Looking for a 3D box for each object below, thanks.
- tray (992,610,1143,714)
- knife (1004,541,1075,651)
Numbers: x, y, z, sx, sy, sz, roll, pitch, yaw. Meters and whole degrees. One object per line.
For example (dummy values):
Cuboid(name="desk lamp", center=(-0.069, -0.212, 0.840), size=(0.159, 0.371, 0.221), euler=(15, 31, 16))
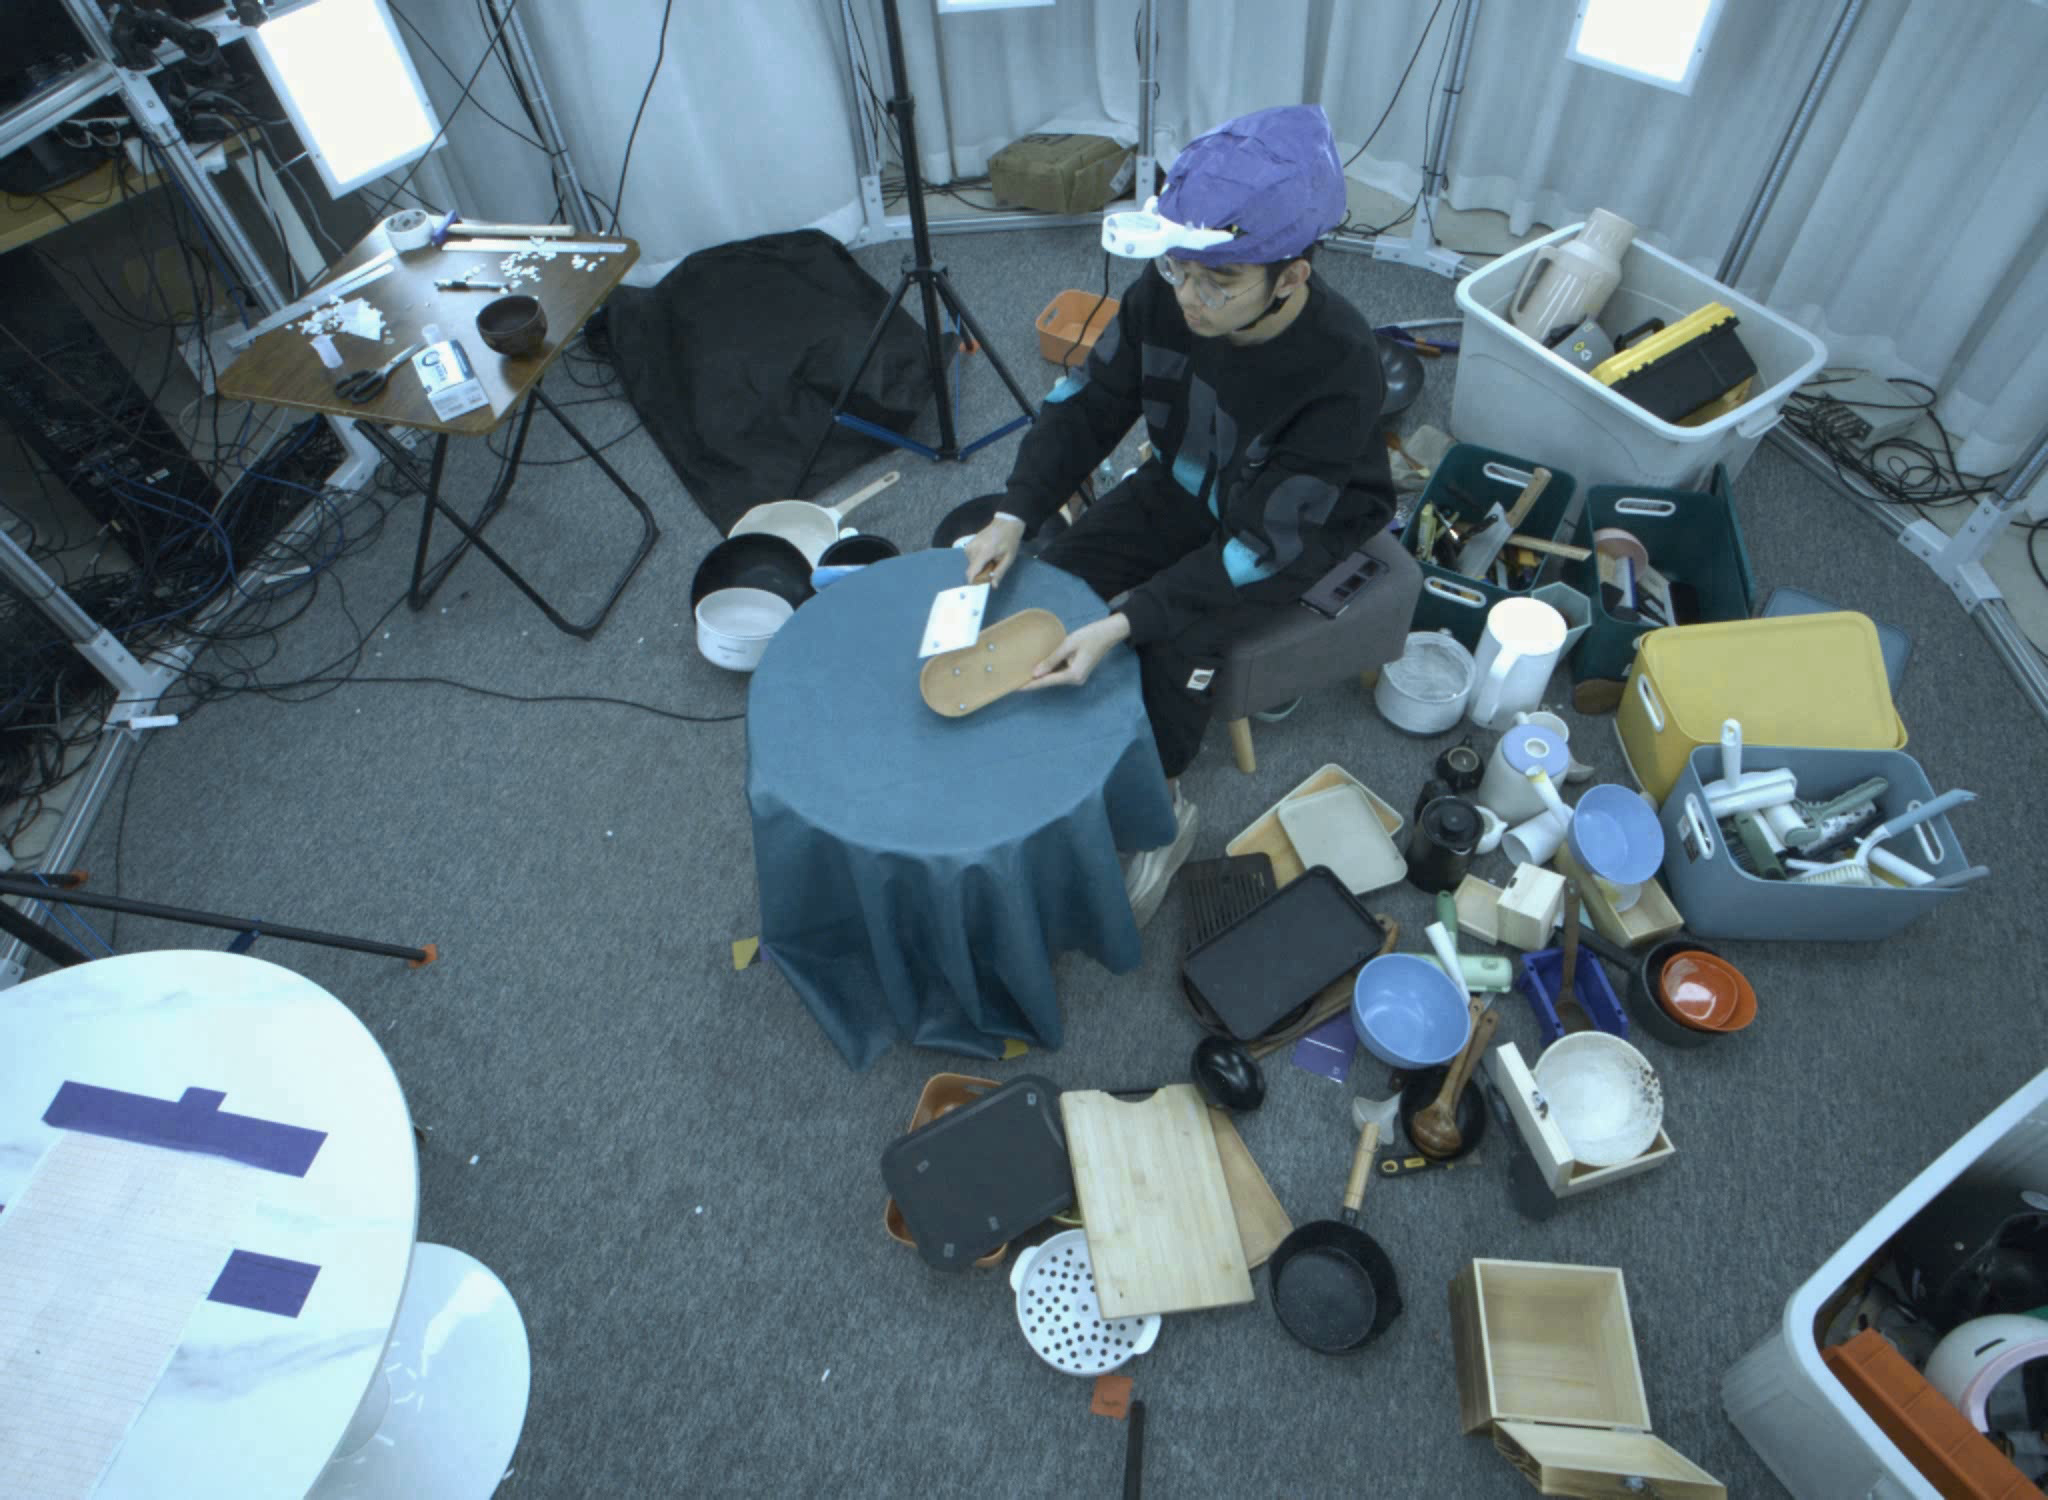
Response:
Cuboid(name="tray", center=(0.063, -0.128, 1.791), size=(0.232, 0.103, 0.020), euler=(-23, 20, -5))
Cuboid(name="knife", center=(0.023, -0.236, 1.875), size=(0.092, 0.021, 0.304), euler=(-9, 35, 17))
